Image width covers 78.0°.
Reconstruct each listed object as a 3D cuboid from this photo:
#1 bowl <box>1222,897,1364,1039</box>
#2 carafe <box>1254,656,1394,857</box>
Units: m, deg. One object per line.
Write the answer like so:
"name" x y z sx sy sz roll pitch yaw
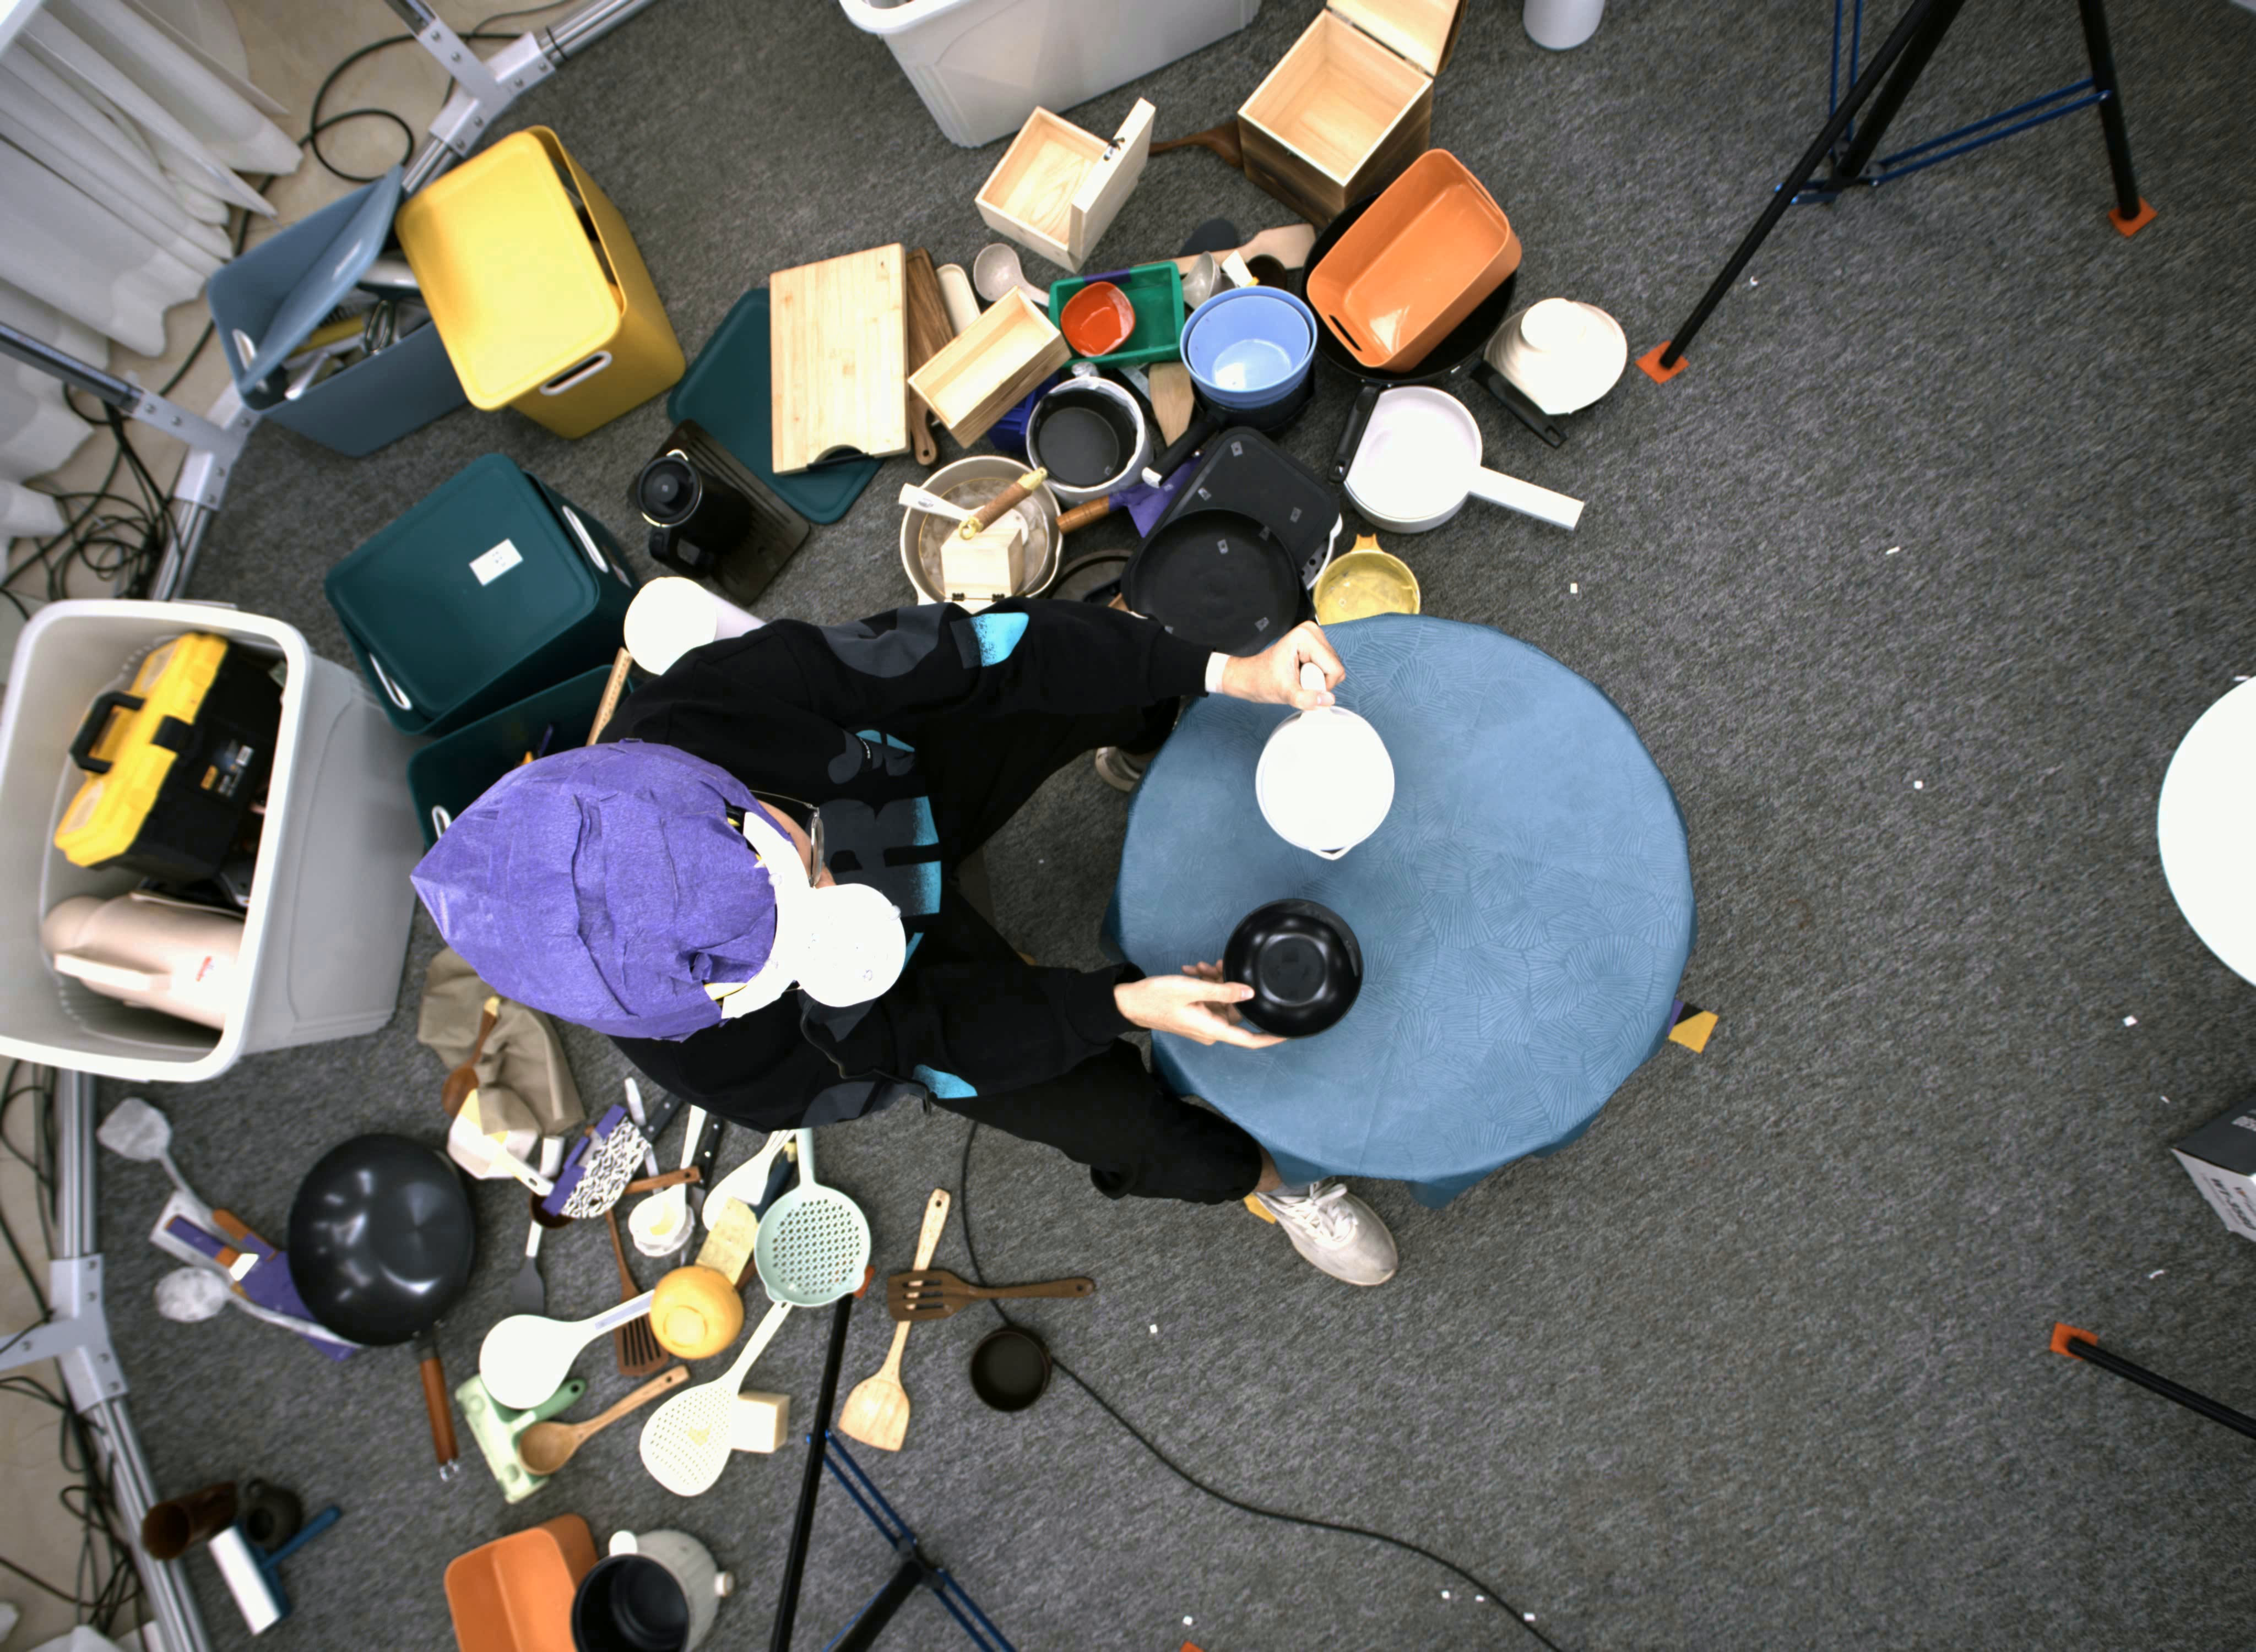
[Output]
"bowl" 0.165 0.141 1.383 0.140 0.050 0.139 -1 85 8
"carafe" 0.186 -0.073 1.345 0.133 0.181 0.192 -9 96 8
